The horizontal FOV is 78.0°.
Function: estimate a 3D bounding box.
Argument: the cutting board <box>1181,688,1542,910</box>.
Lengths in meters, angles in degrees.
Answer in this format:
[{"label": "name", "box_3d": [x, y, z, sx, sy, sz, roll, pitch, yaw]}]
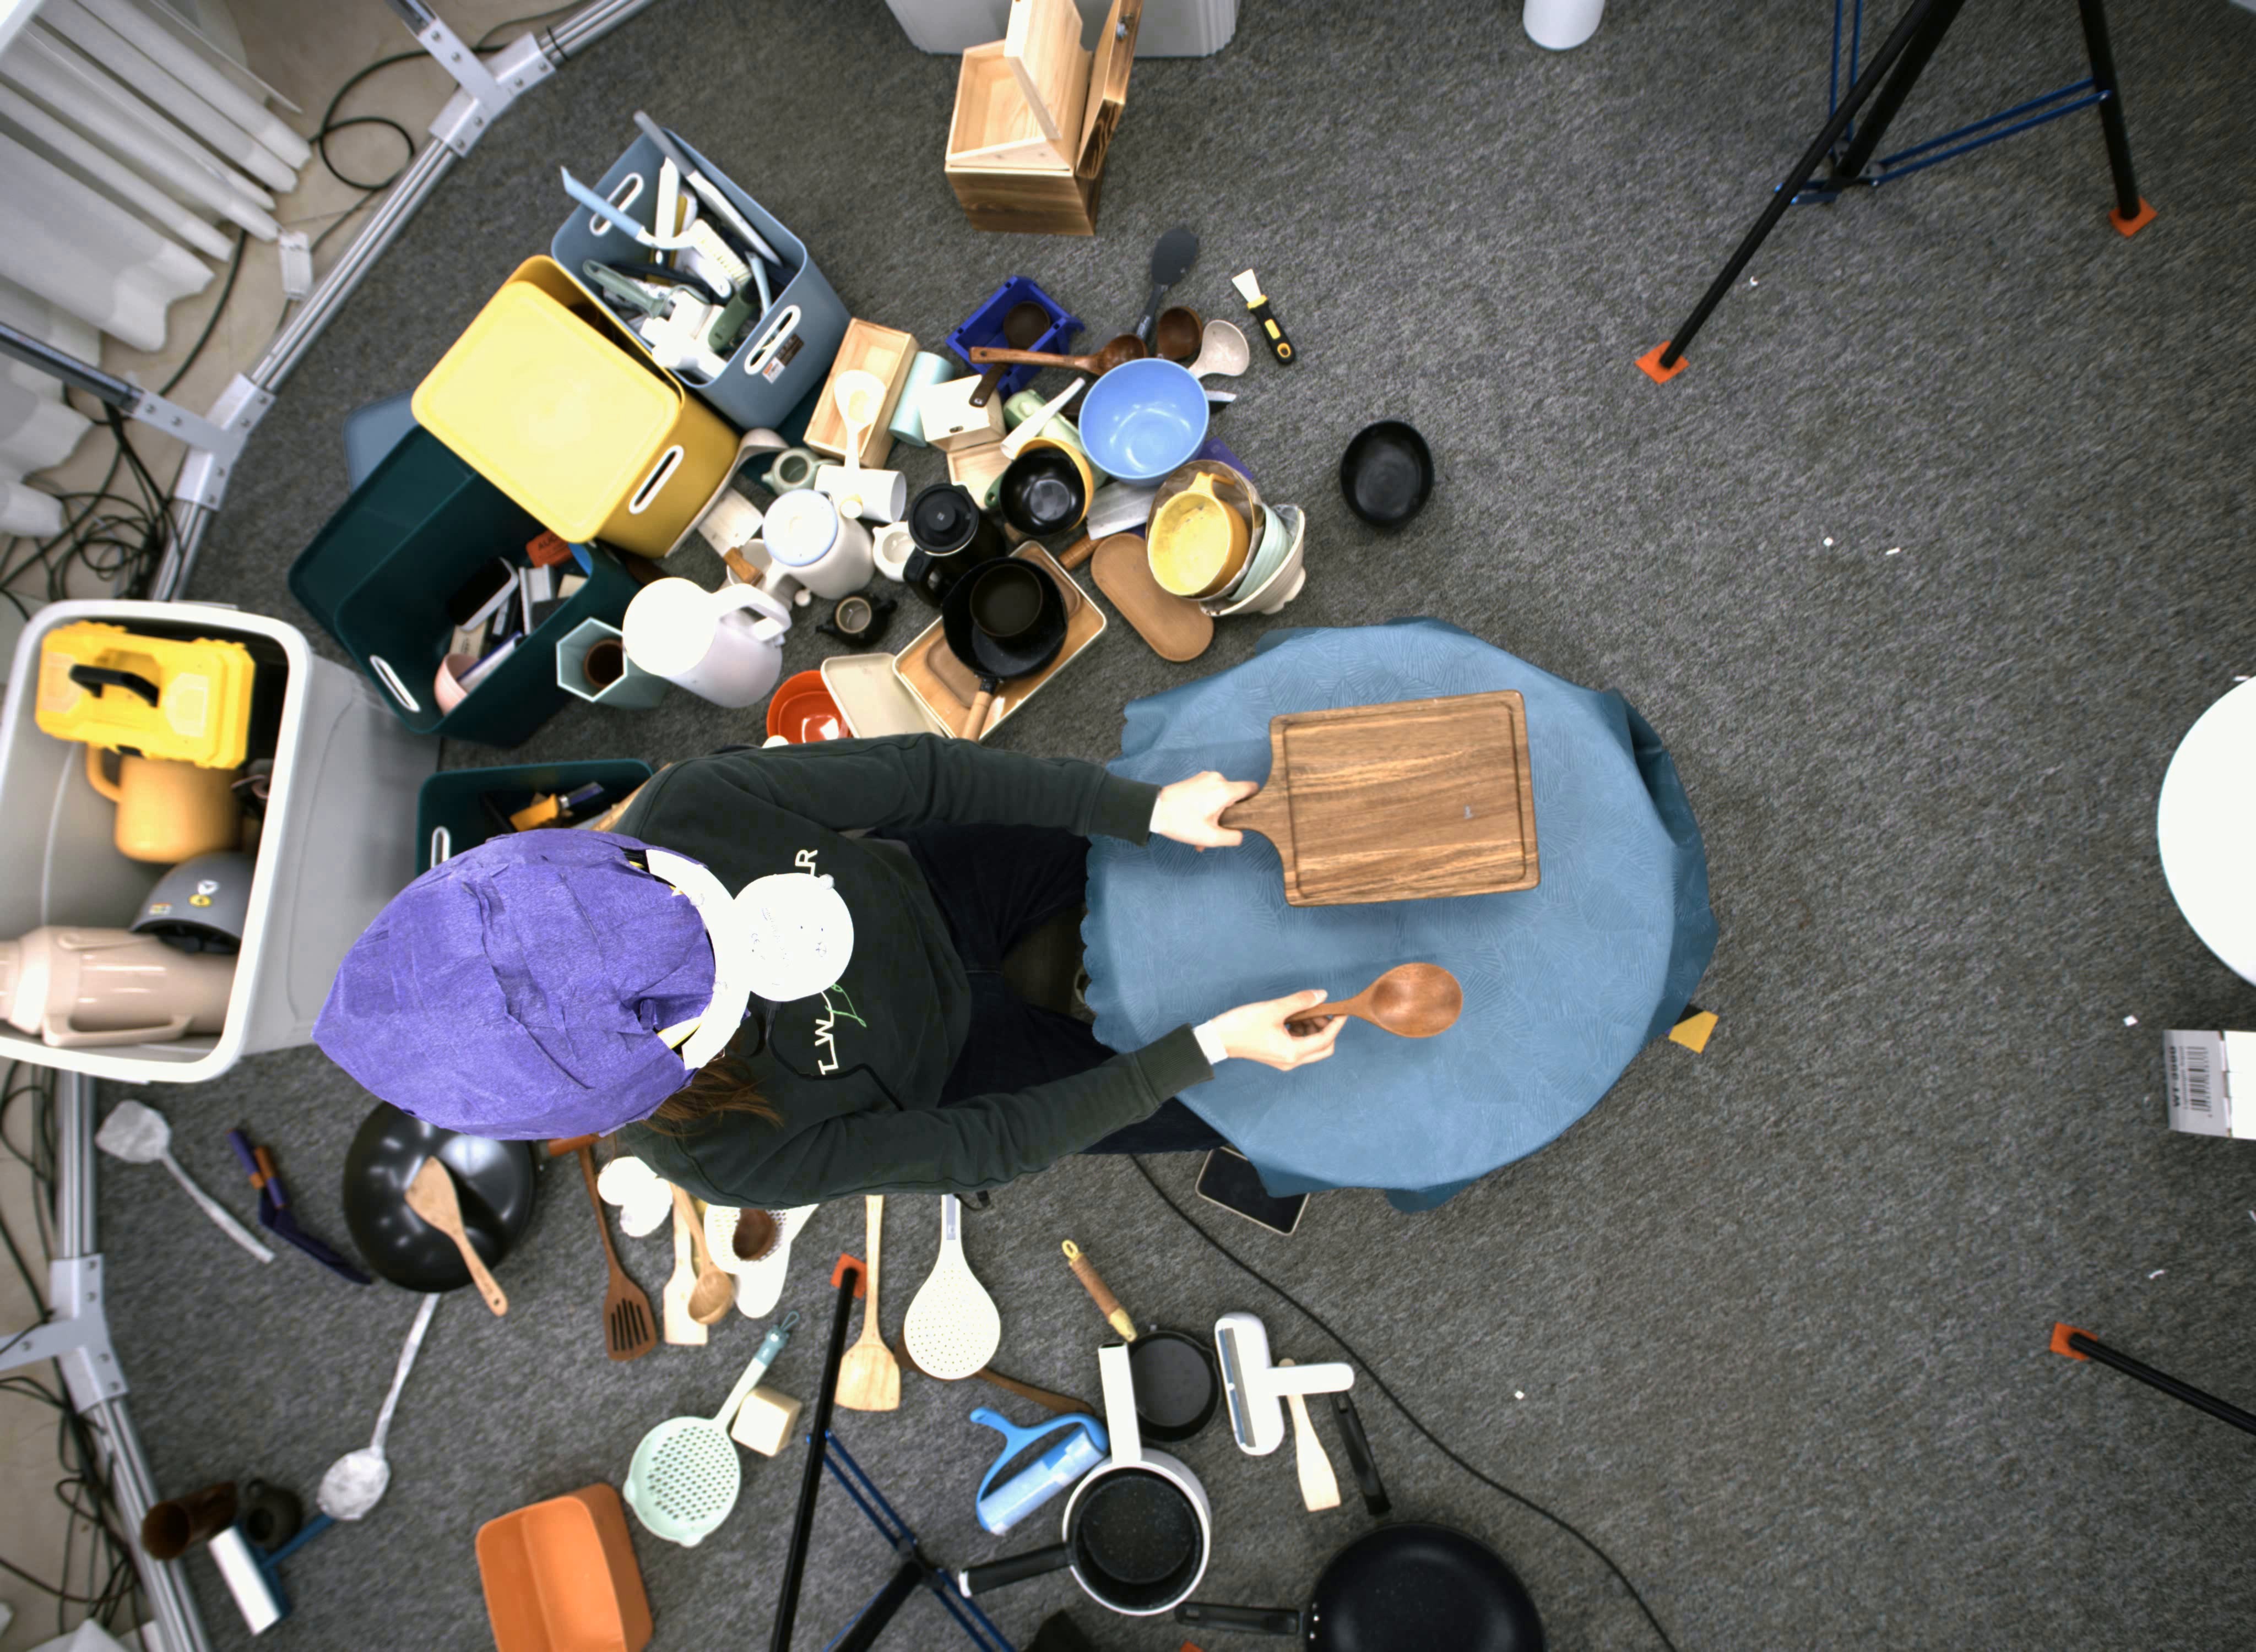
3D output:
[{"label": "cutting board", "box_3d": [0.225, -0.021, 1.381, 0.354, 0.023, 0.201, -5, 95, 16]}]

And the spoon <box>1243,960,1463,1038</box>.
[{"label": "spoon", "box_3d": [0.220, 0.176, 1.360, 0.217, 0.017, 0.075, -8, 84, 10]}]
